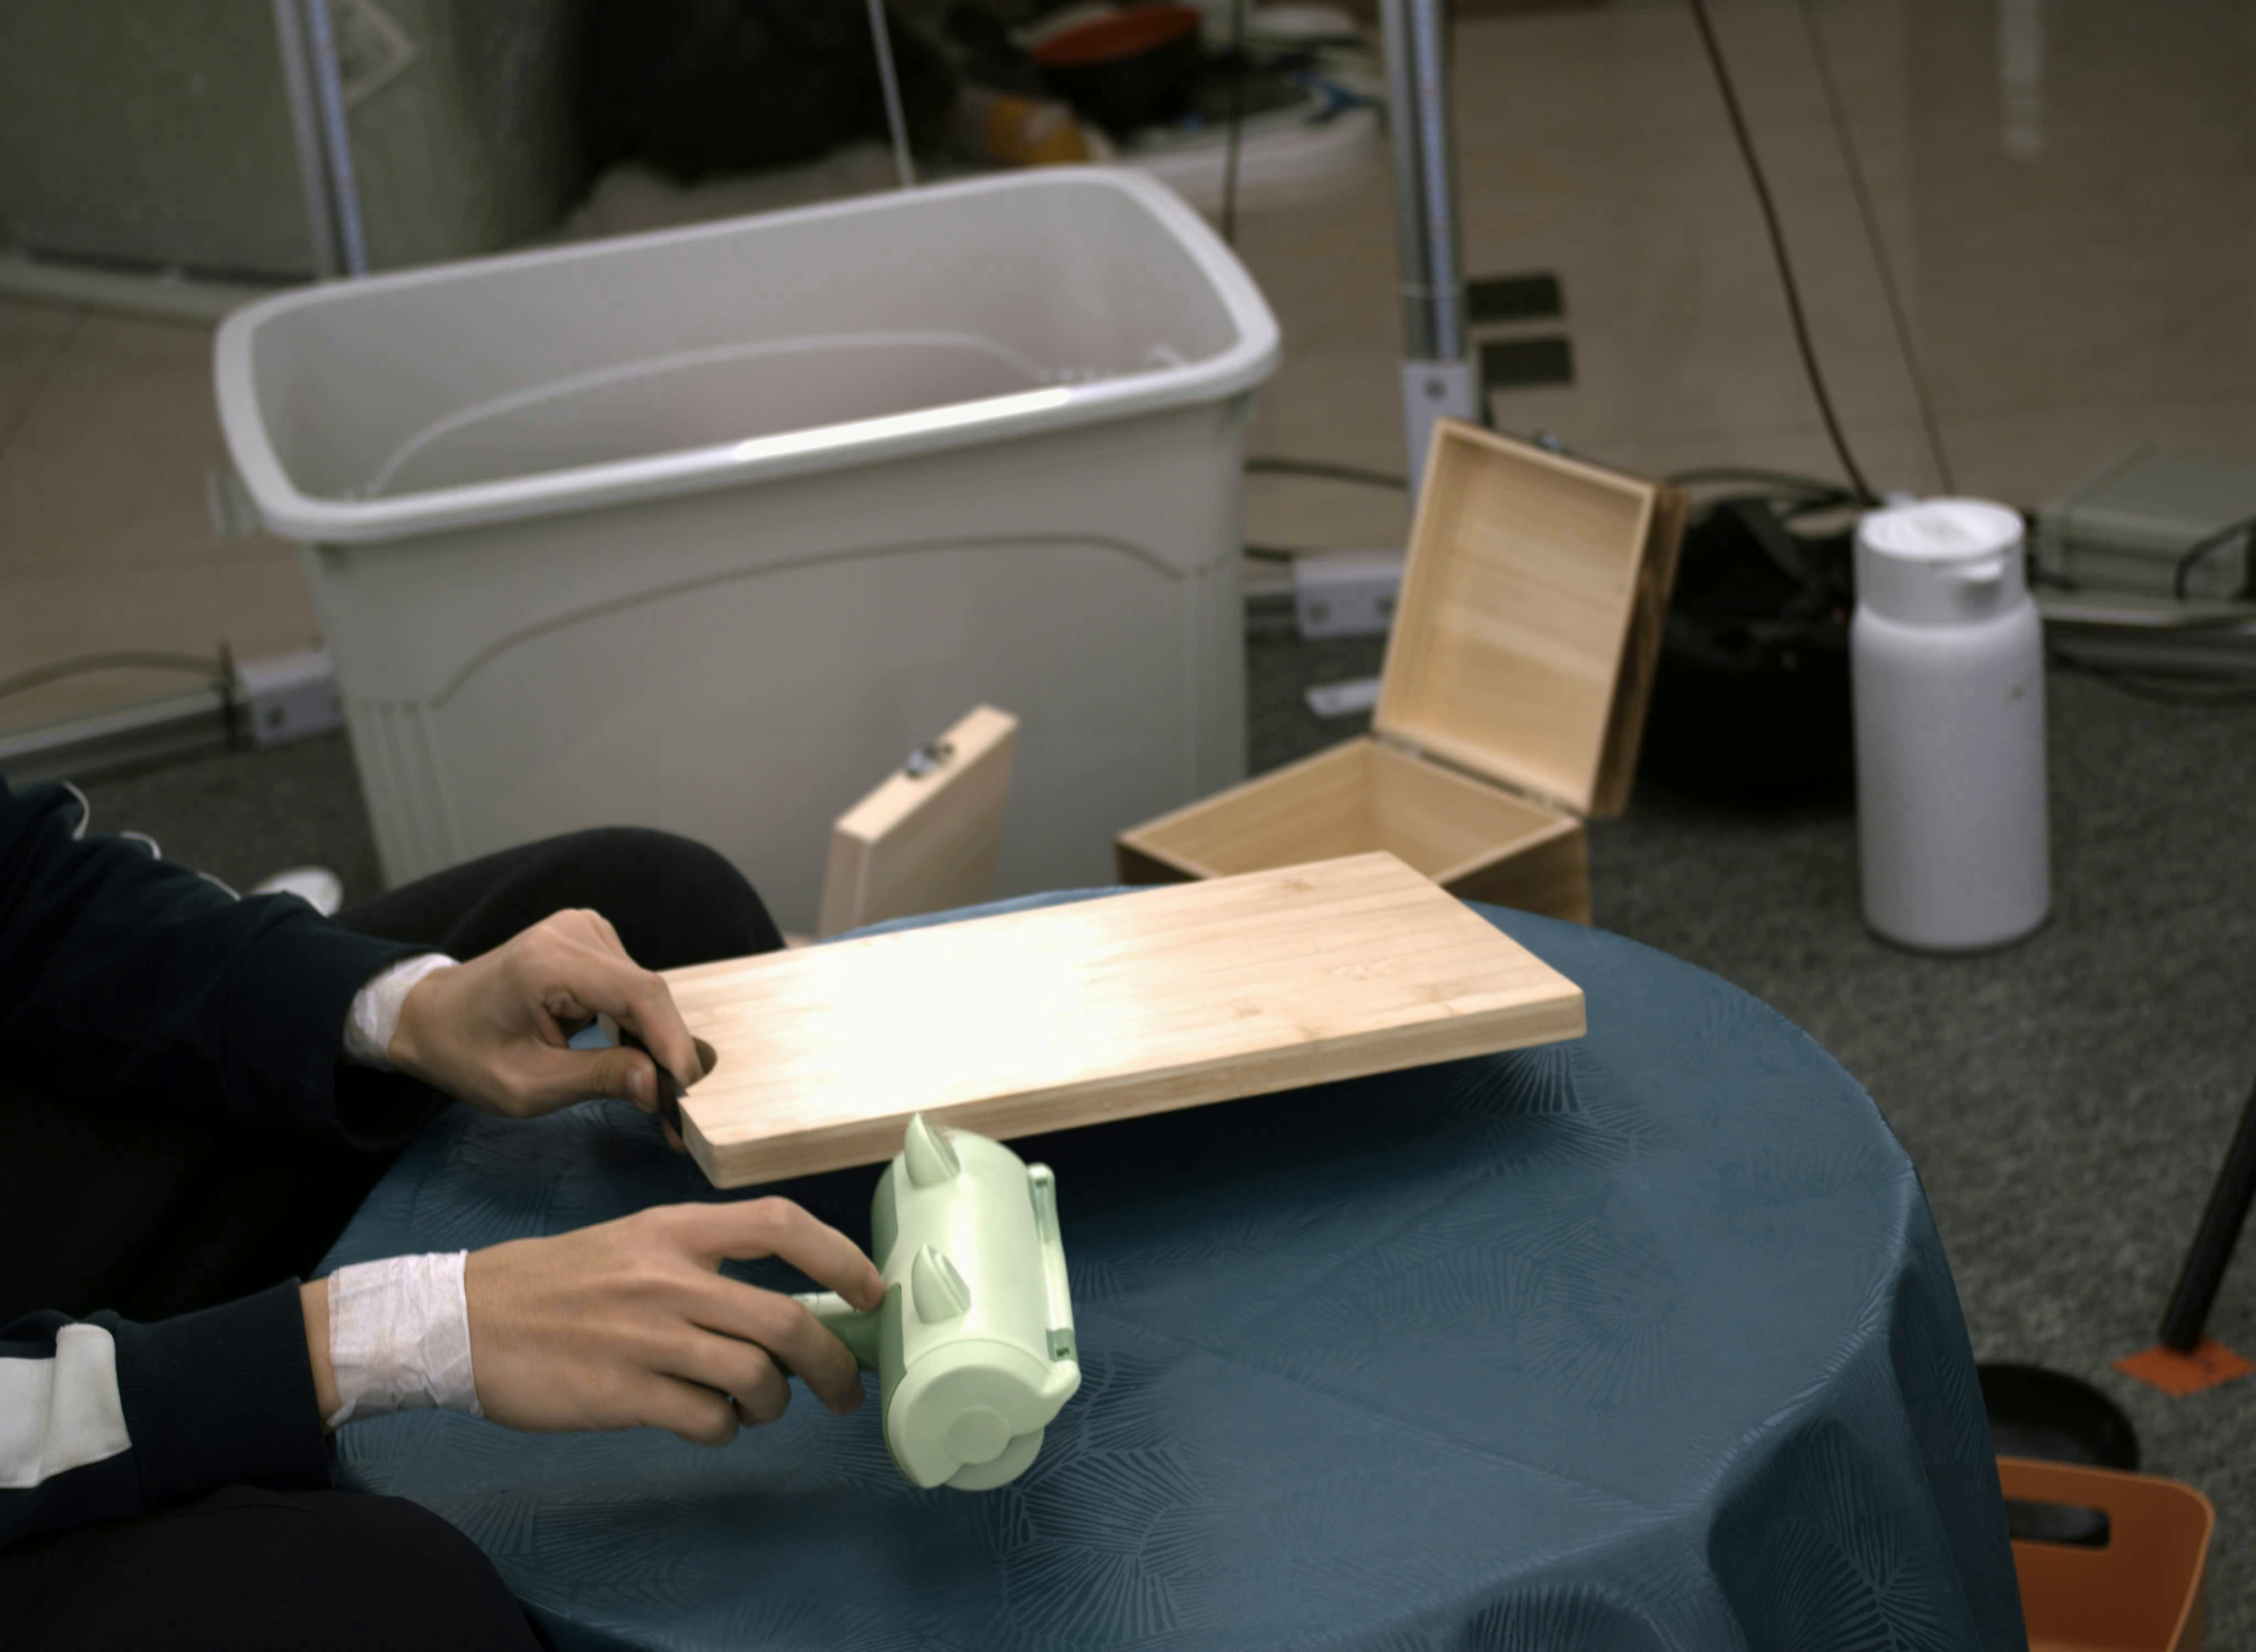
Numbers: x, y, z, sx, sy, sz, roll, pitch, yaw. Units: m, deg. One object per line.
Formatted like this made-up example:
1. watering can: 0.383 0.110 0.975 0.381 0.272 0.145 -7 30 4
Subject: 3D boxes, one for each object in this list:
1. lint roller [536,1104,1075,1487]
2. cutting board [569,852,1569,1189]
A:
1. lint roller: -0.113 0.158 1.944 0.183 0.083 0.196 -3 21 -3
2. cutting board: -0.026 0.072 2.206 0.348 0.024 0.248 -9 14 -14
